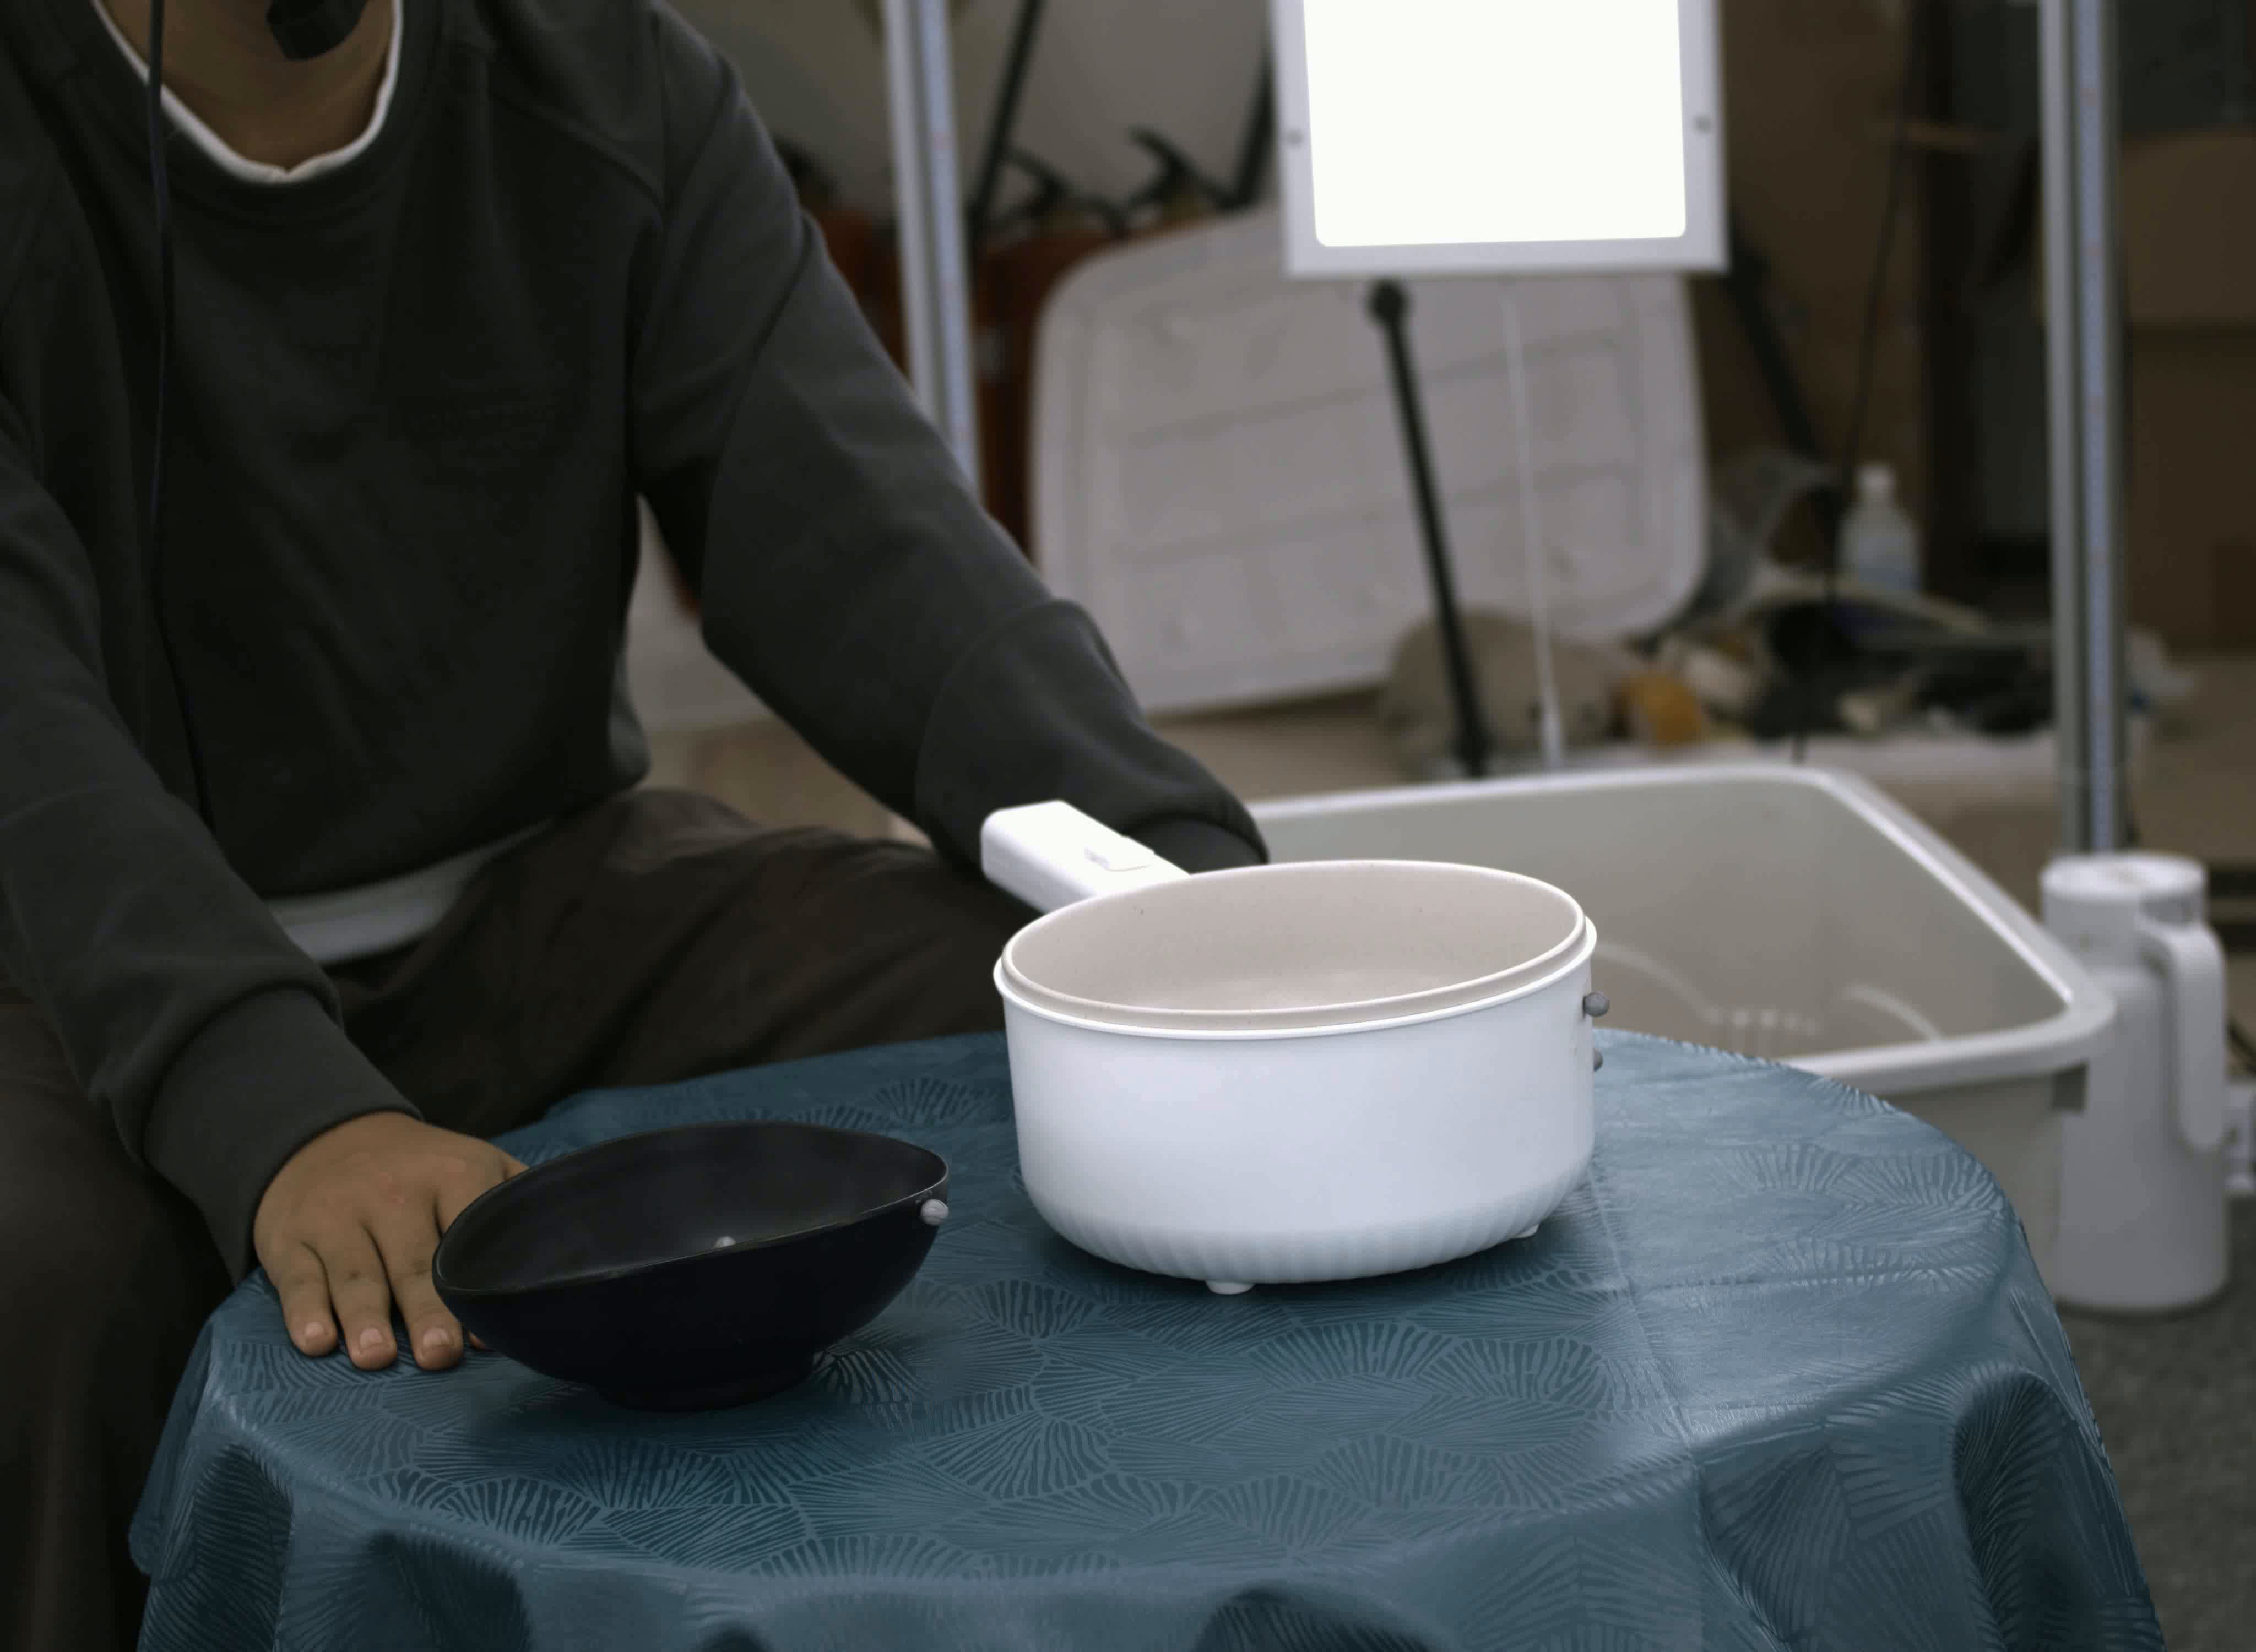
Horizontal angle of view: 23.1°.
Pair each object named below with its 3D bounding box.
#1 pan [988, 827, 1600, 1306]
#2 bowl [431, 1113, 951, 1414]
[{"bbox_3d":[0.031,0.076,1.910,0.198,0.102,0.359,-12,13,-19],"label":"pan"},{"bbox_3d":[-0.134,0.144,1.738,0.167,0.067,0.139,-13,15,-25],"label":"bowl"}]
